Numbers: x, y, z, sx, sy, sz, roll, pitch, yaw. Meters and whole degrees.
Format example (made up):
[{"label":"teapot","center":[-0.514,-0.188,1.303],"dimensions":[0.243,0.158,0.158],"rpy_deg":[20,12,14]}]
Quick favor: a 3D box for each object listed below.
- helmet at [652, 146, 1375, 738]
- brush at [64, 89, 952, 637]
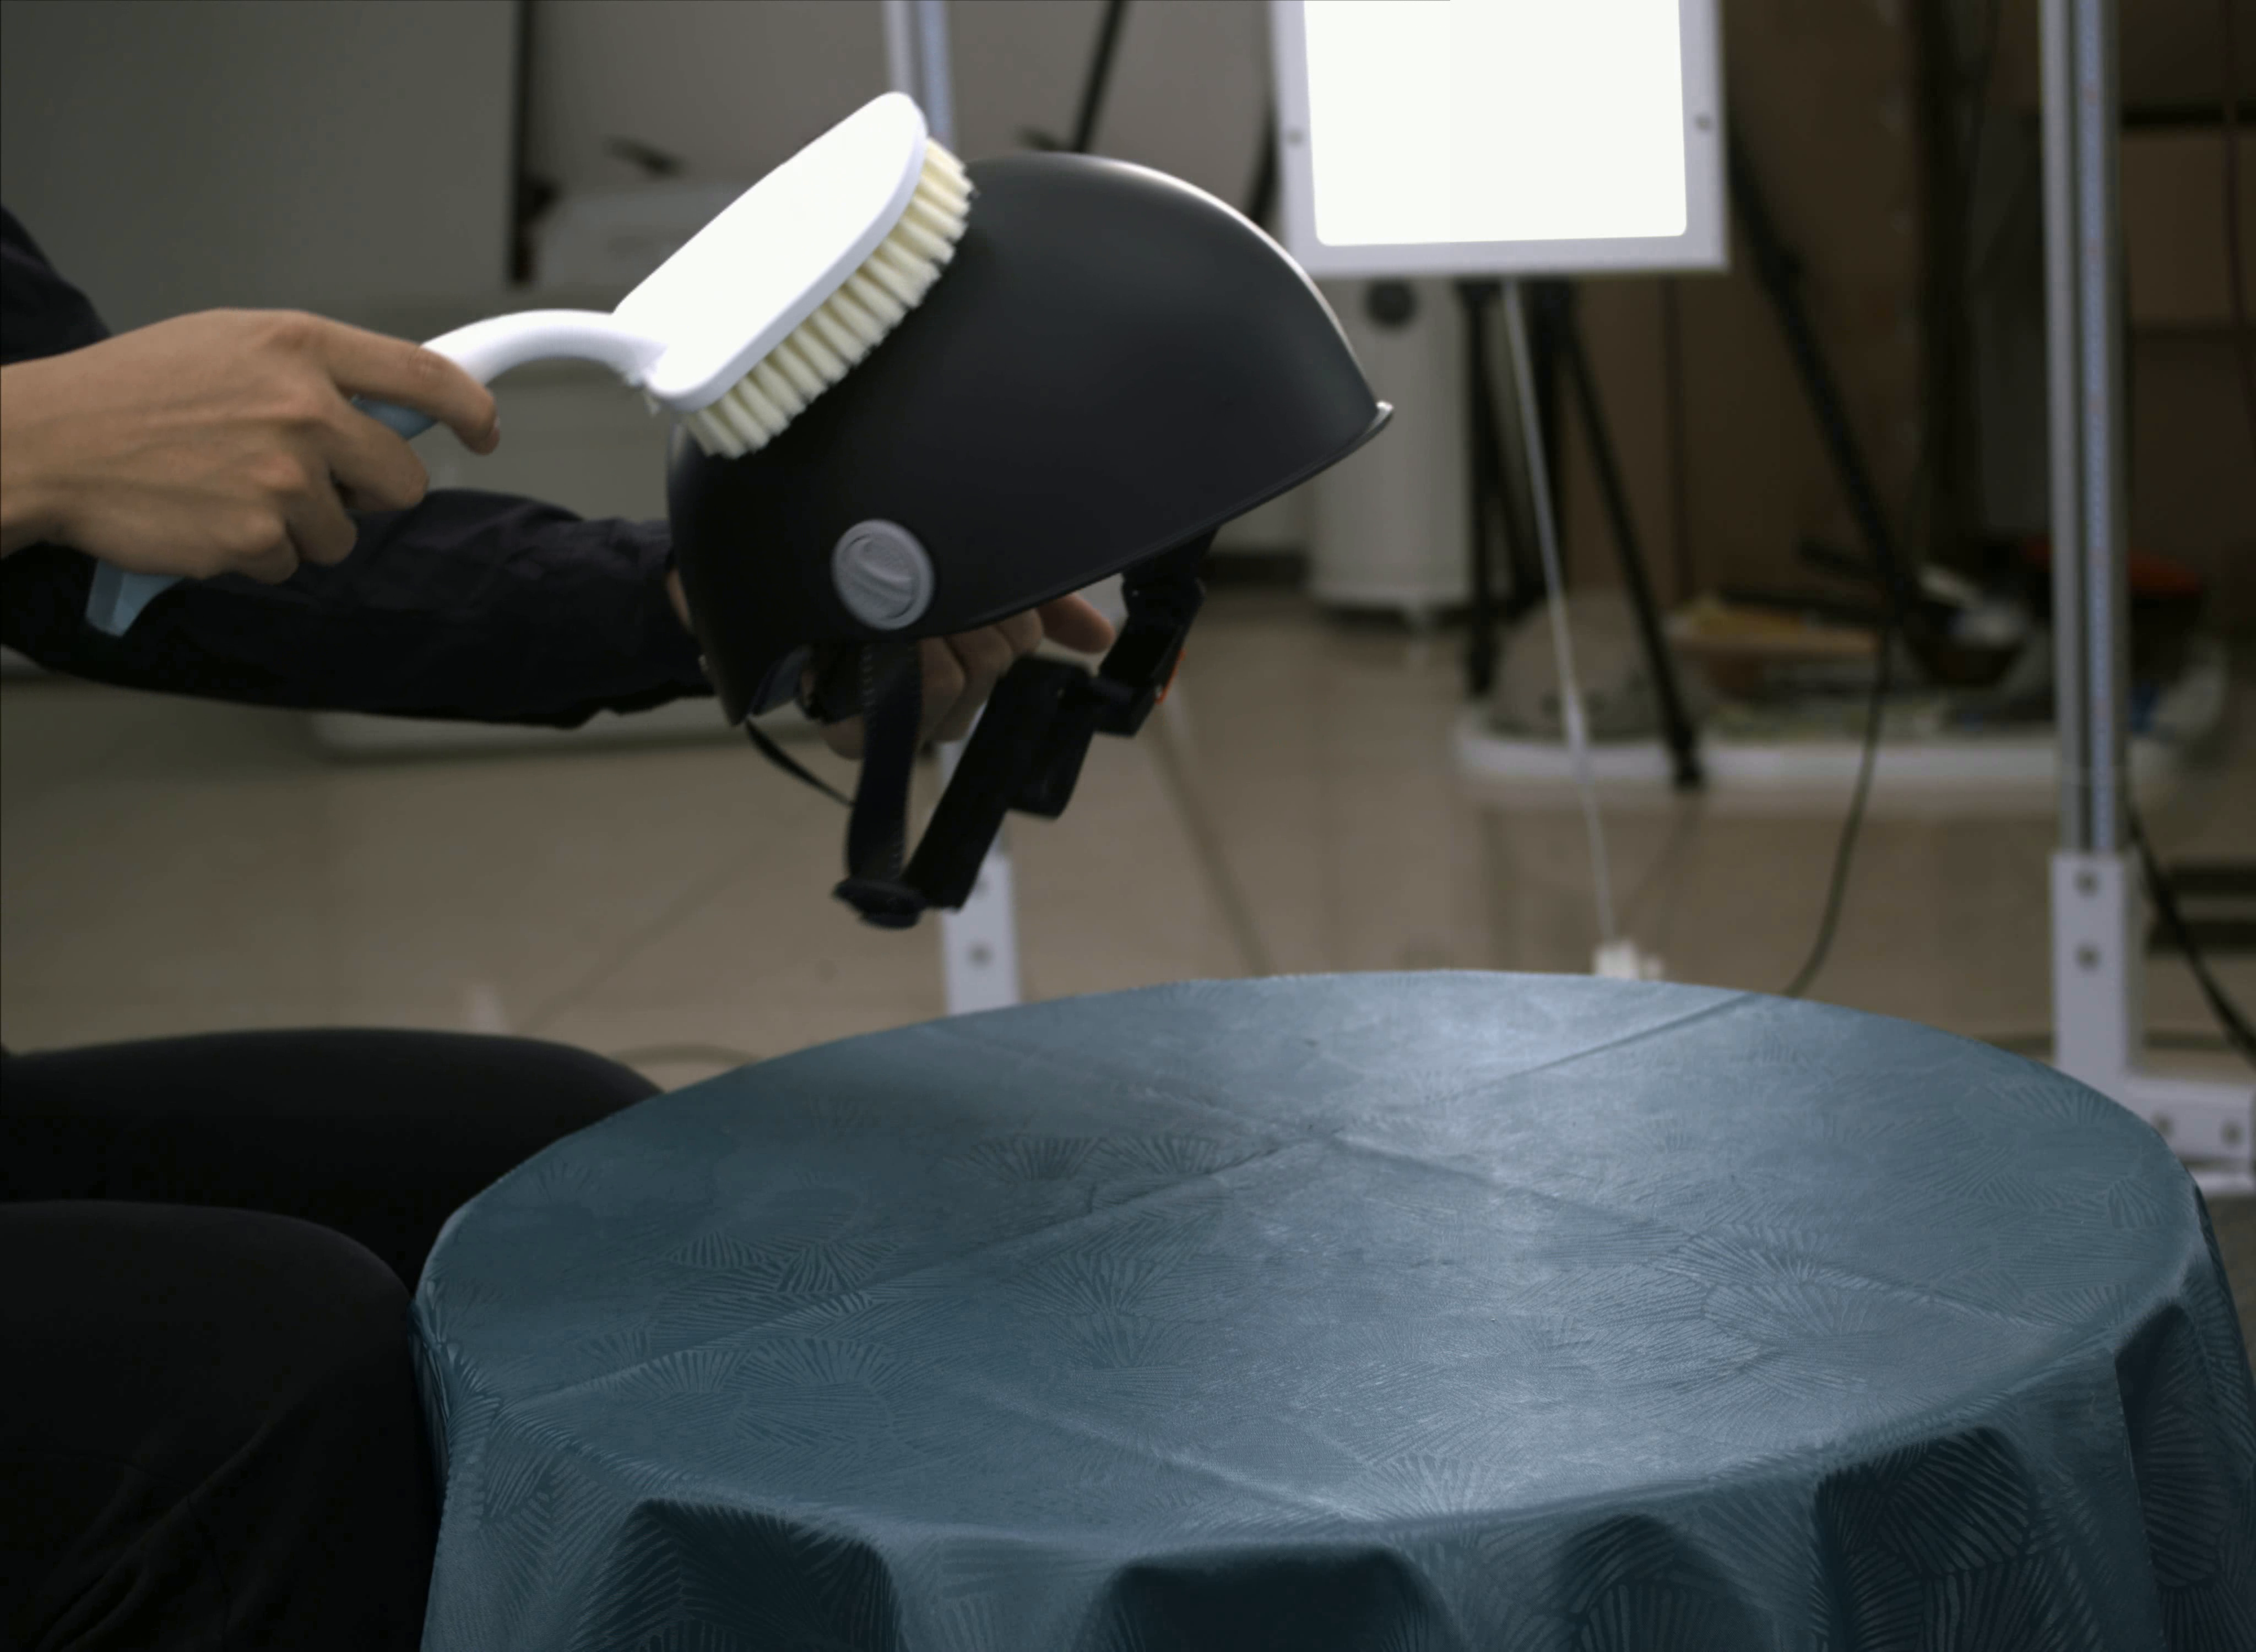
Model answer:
[{"label":"helmet","center":[-0.056,-0.147,1.906],"dimensions":[0.225,0.167,0.279],"rpy_deg":[-33,6,-37]},{"label":"brush","center":[-0.196,-0.132,1.806],"dimensions":[0.323,0.084,0.083],"rpy_deg":[-33,2,-8]}]
